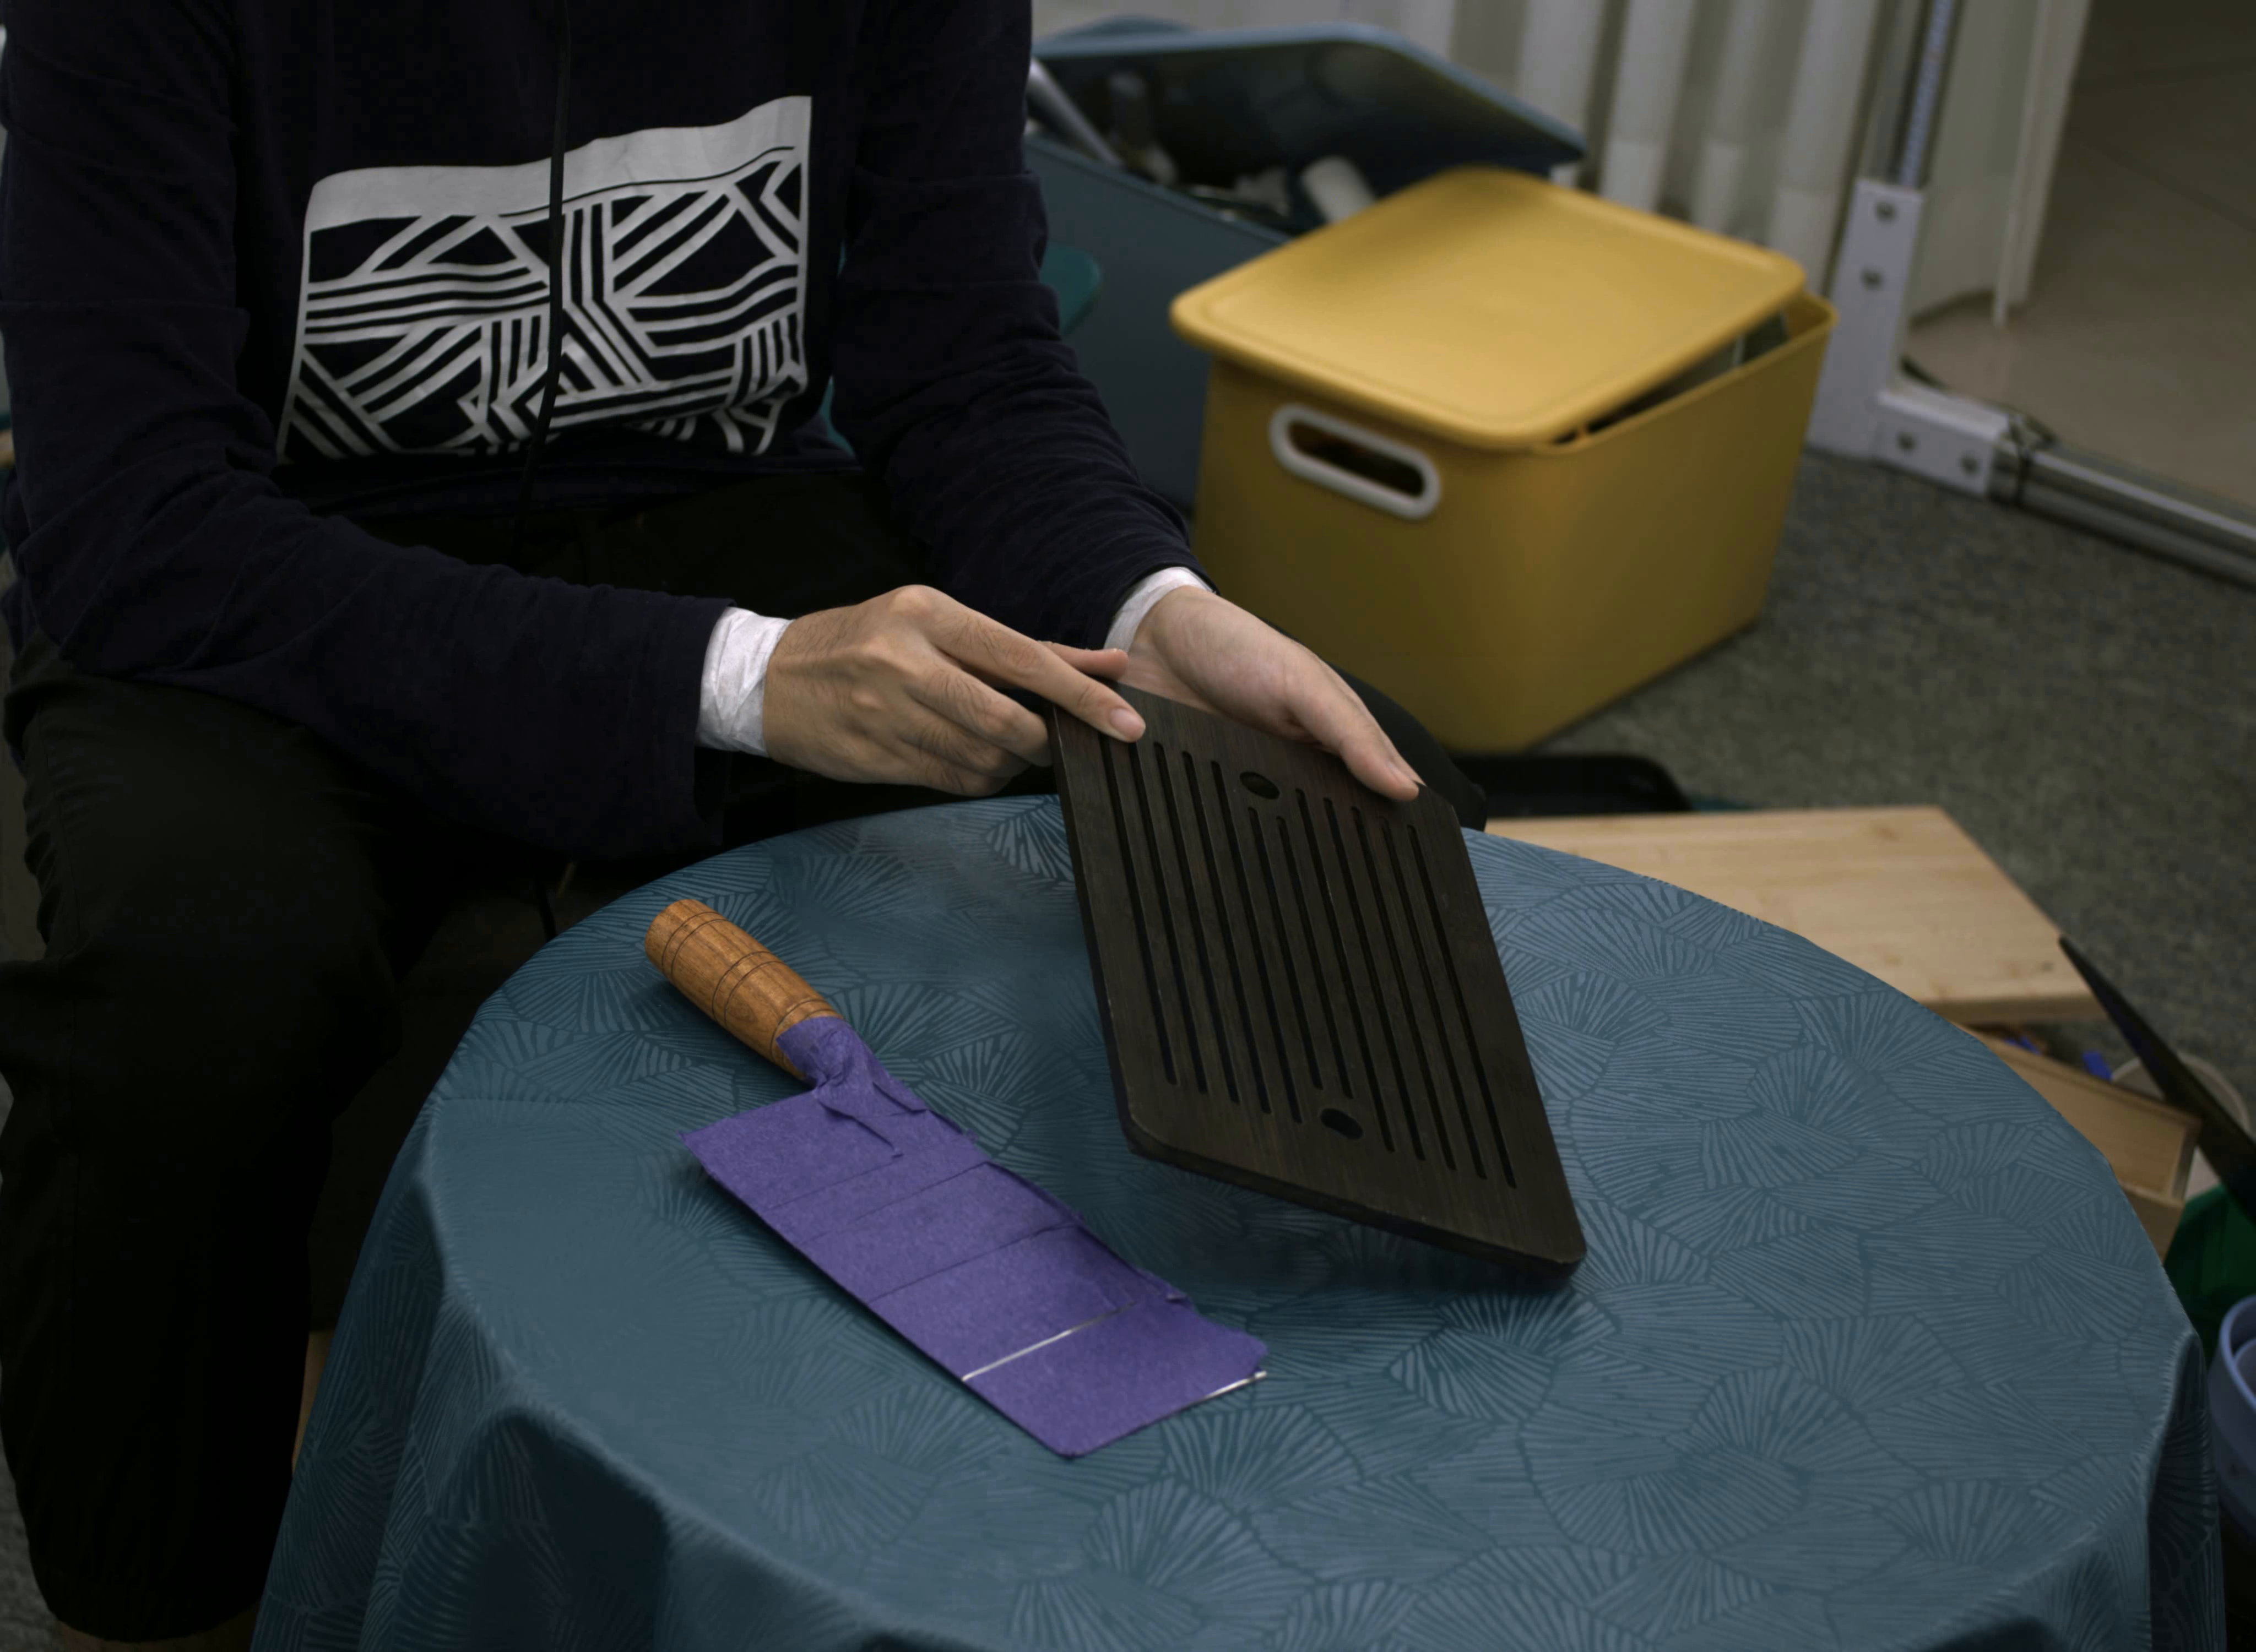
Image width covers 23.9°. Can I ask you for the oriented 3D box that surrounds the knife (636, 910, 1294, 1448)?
[{"bbox_3d":[-0.084,0.114,1.777,0.103,0.032,0.318,-17,35,-38],"label":"knife"}]

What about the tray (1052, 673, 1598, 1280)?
[{"bbox_3d":[0.062,0.051,1.876,0.169,0.018,0.308,17,28,-17],"label":"tray"}]
